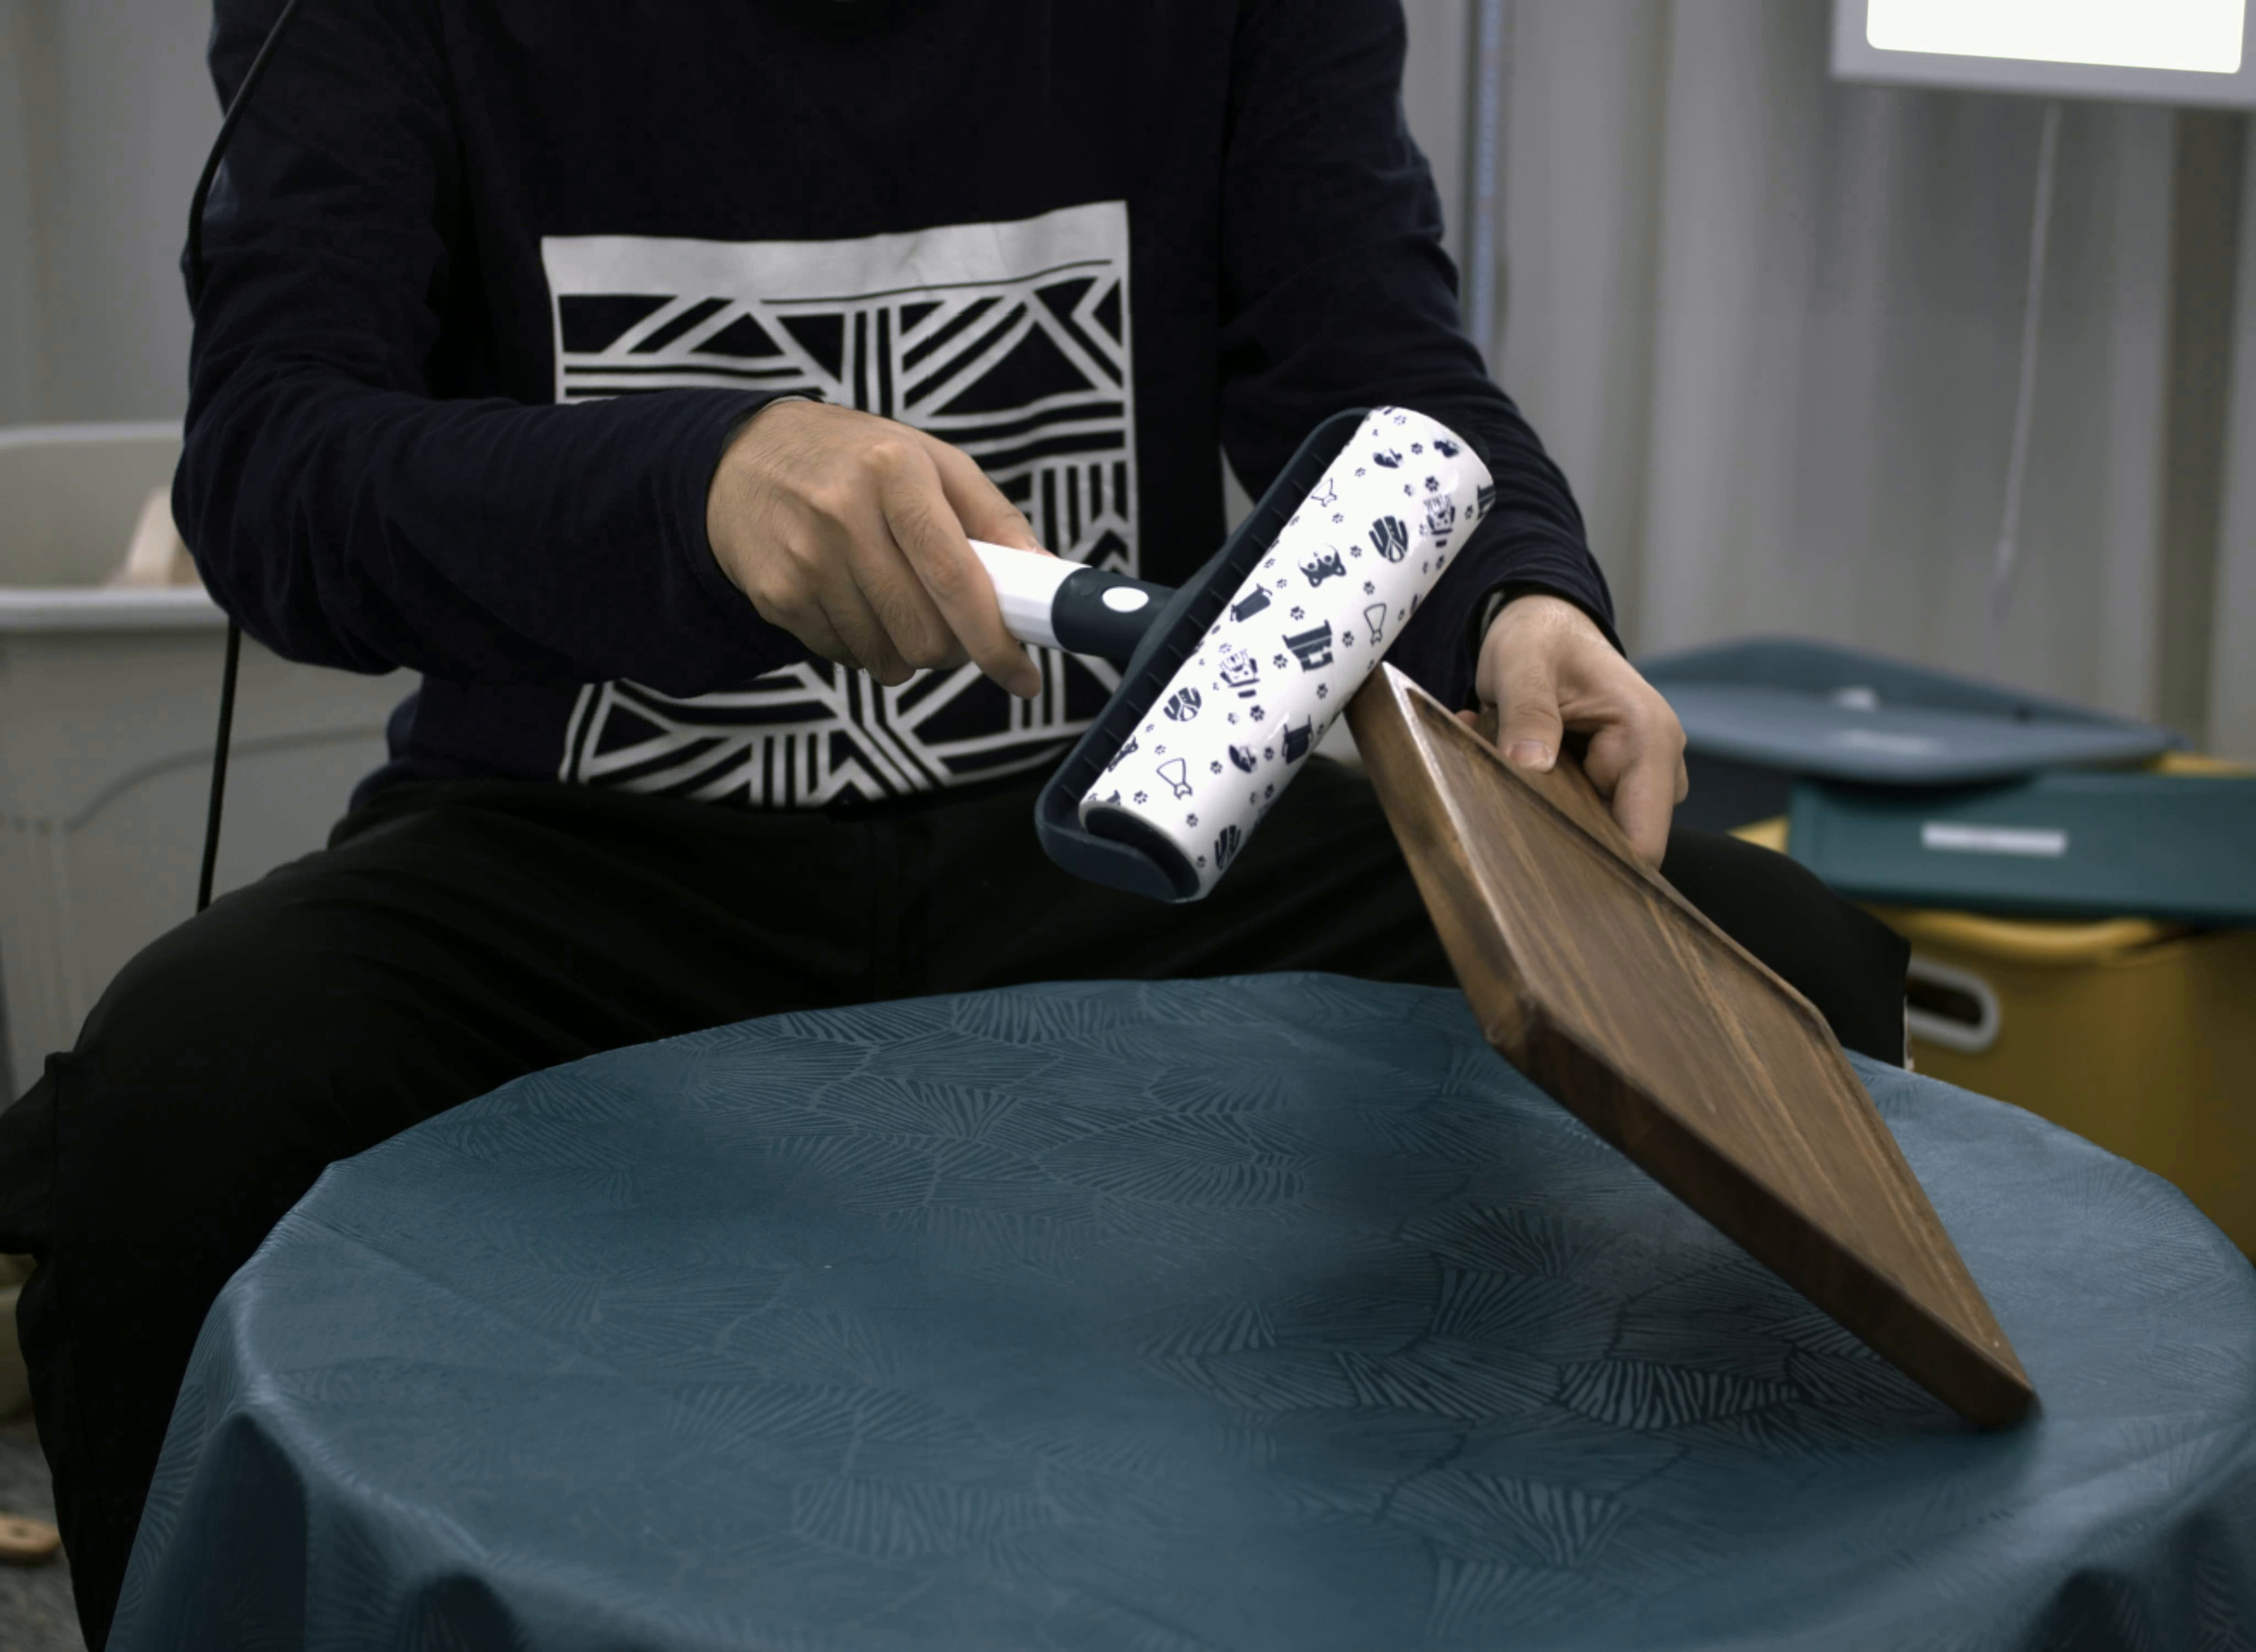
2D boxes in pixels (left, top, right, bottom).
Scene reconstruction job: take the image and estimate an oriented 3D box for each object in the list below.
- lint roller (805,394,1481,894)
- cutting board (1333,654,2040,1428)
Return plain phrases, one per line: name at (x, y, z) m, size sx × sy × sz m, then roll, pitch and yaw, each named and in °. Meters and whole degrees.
lint roller at (-0.023, -0.069, 1.639) m, size 0.244 × 0.051 × 0.176 m, roll 12°, pitch 60°, yaw 44°
cutting board at (0.149, 0.037, 1.556) m, size 0.203 × 0.023 × 0.348 m, roll 38°, pitch 13°, yaw -22°
